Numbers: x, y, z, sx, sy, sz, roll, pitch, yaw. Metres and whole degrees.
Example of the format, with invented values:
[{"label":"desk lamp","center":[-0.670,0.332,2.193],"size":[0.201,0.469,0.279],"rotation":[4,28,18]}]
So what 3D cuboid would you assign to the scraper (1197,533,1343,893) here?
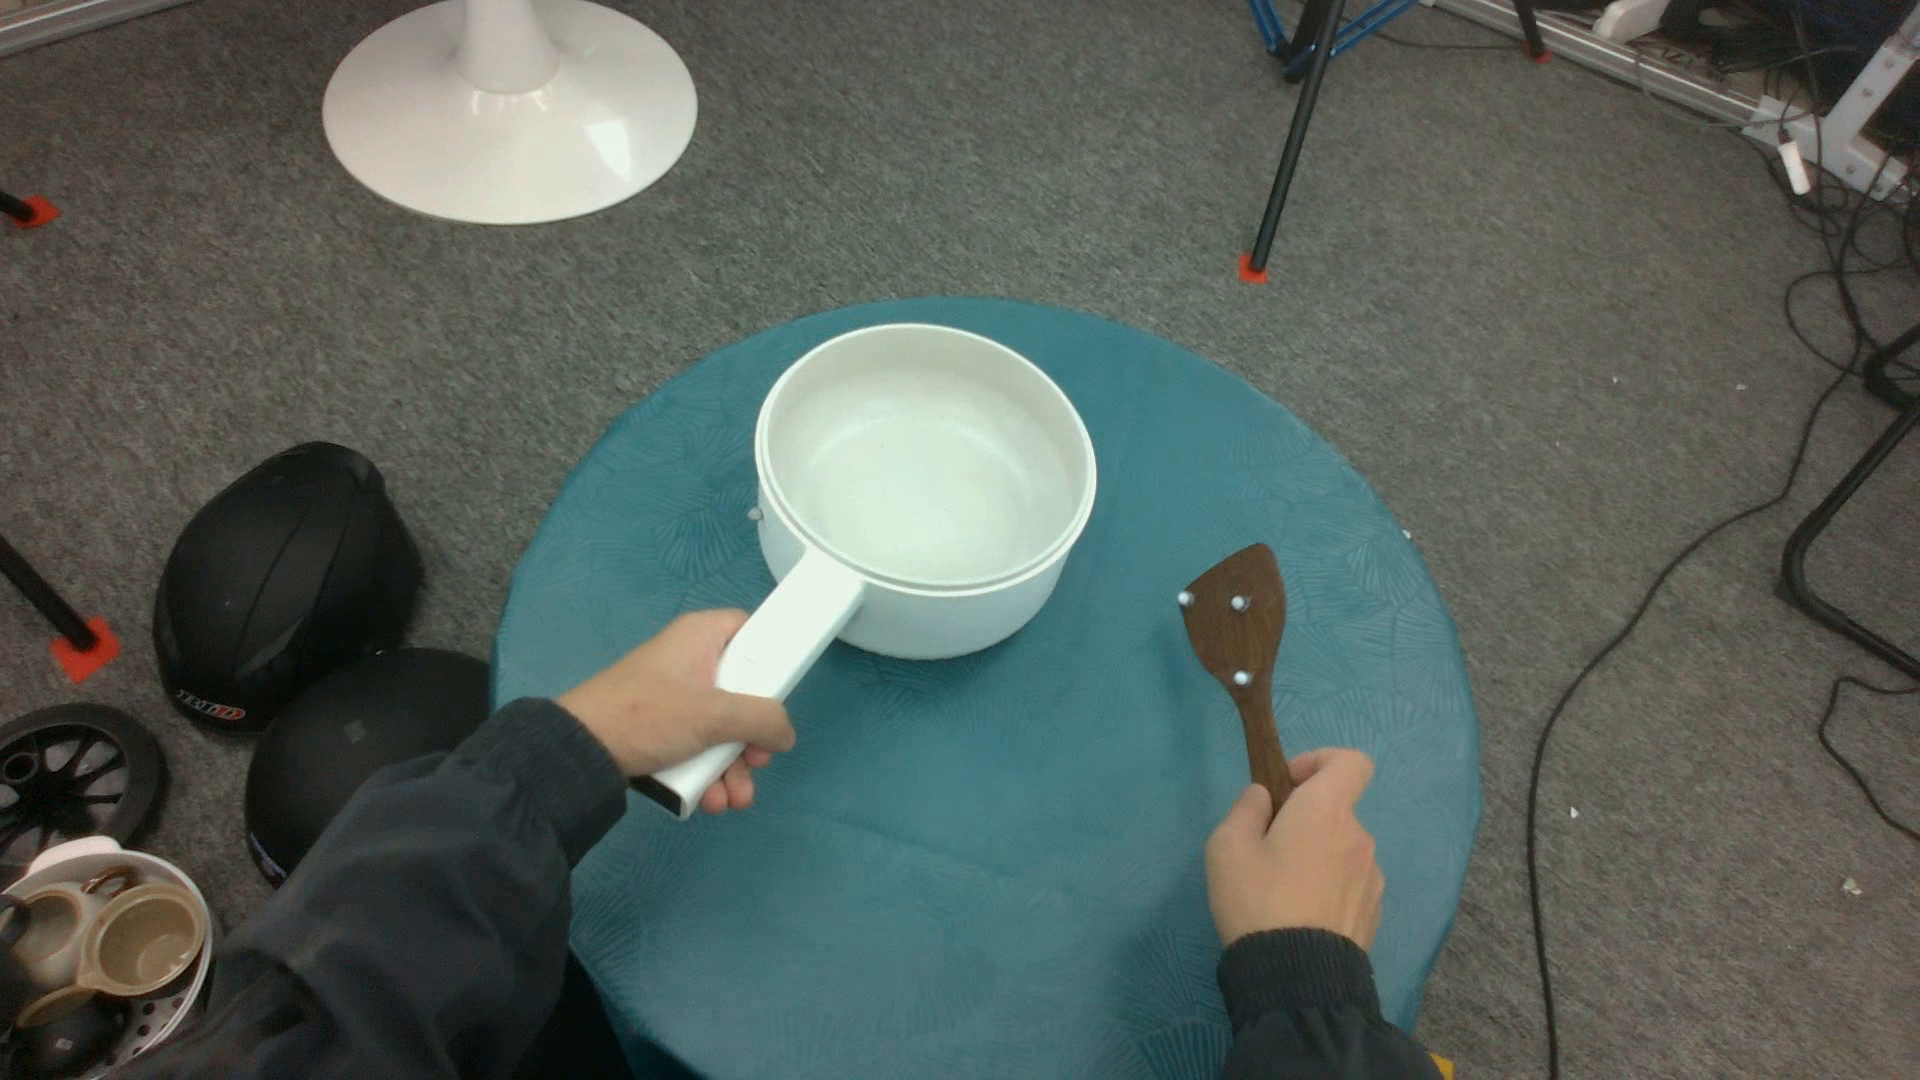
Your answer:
[{"label":"scraper","center":[0.180,0.095,0.775],"size":[0.011,0.075,0.212],"rotation":[22,46,-34]}]

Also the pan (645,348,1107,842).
[{"label":"pan","center":[-0.055,0.038,0.803],"size":[0.201,0.101,0.356],"rotation":[29,55,11]}]
